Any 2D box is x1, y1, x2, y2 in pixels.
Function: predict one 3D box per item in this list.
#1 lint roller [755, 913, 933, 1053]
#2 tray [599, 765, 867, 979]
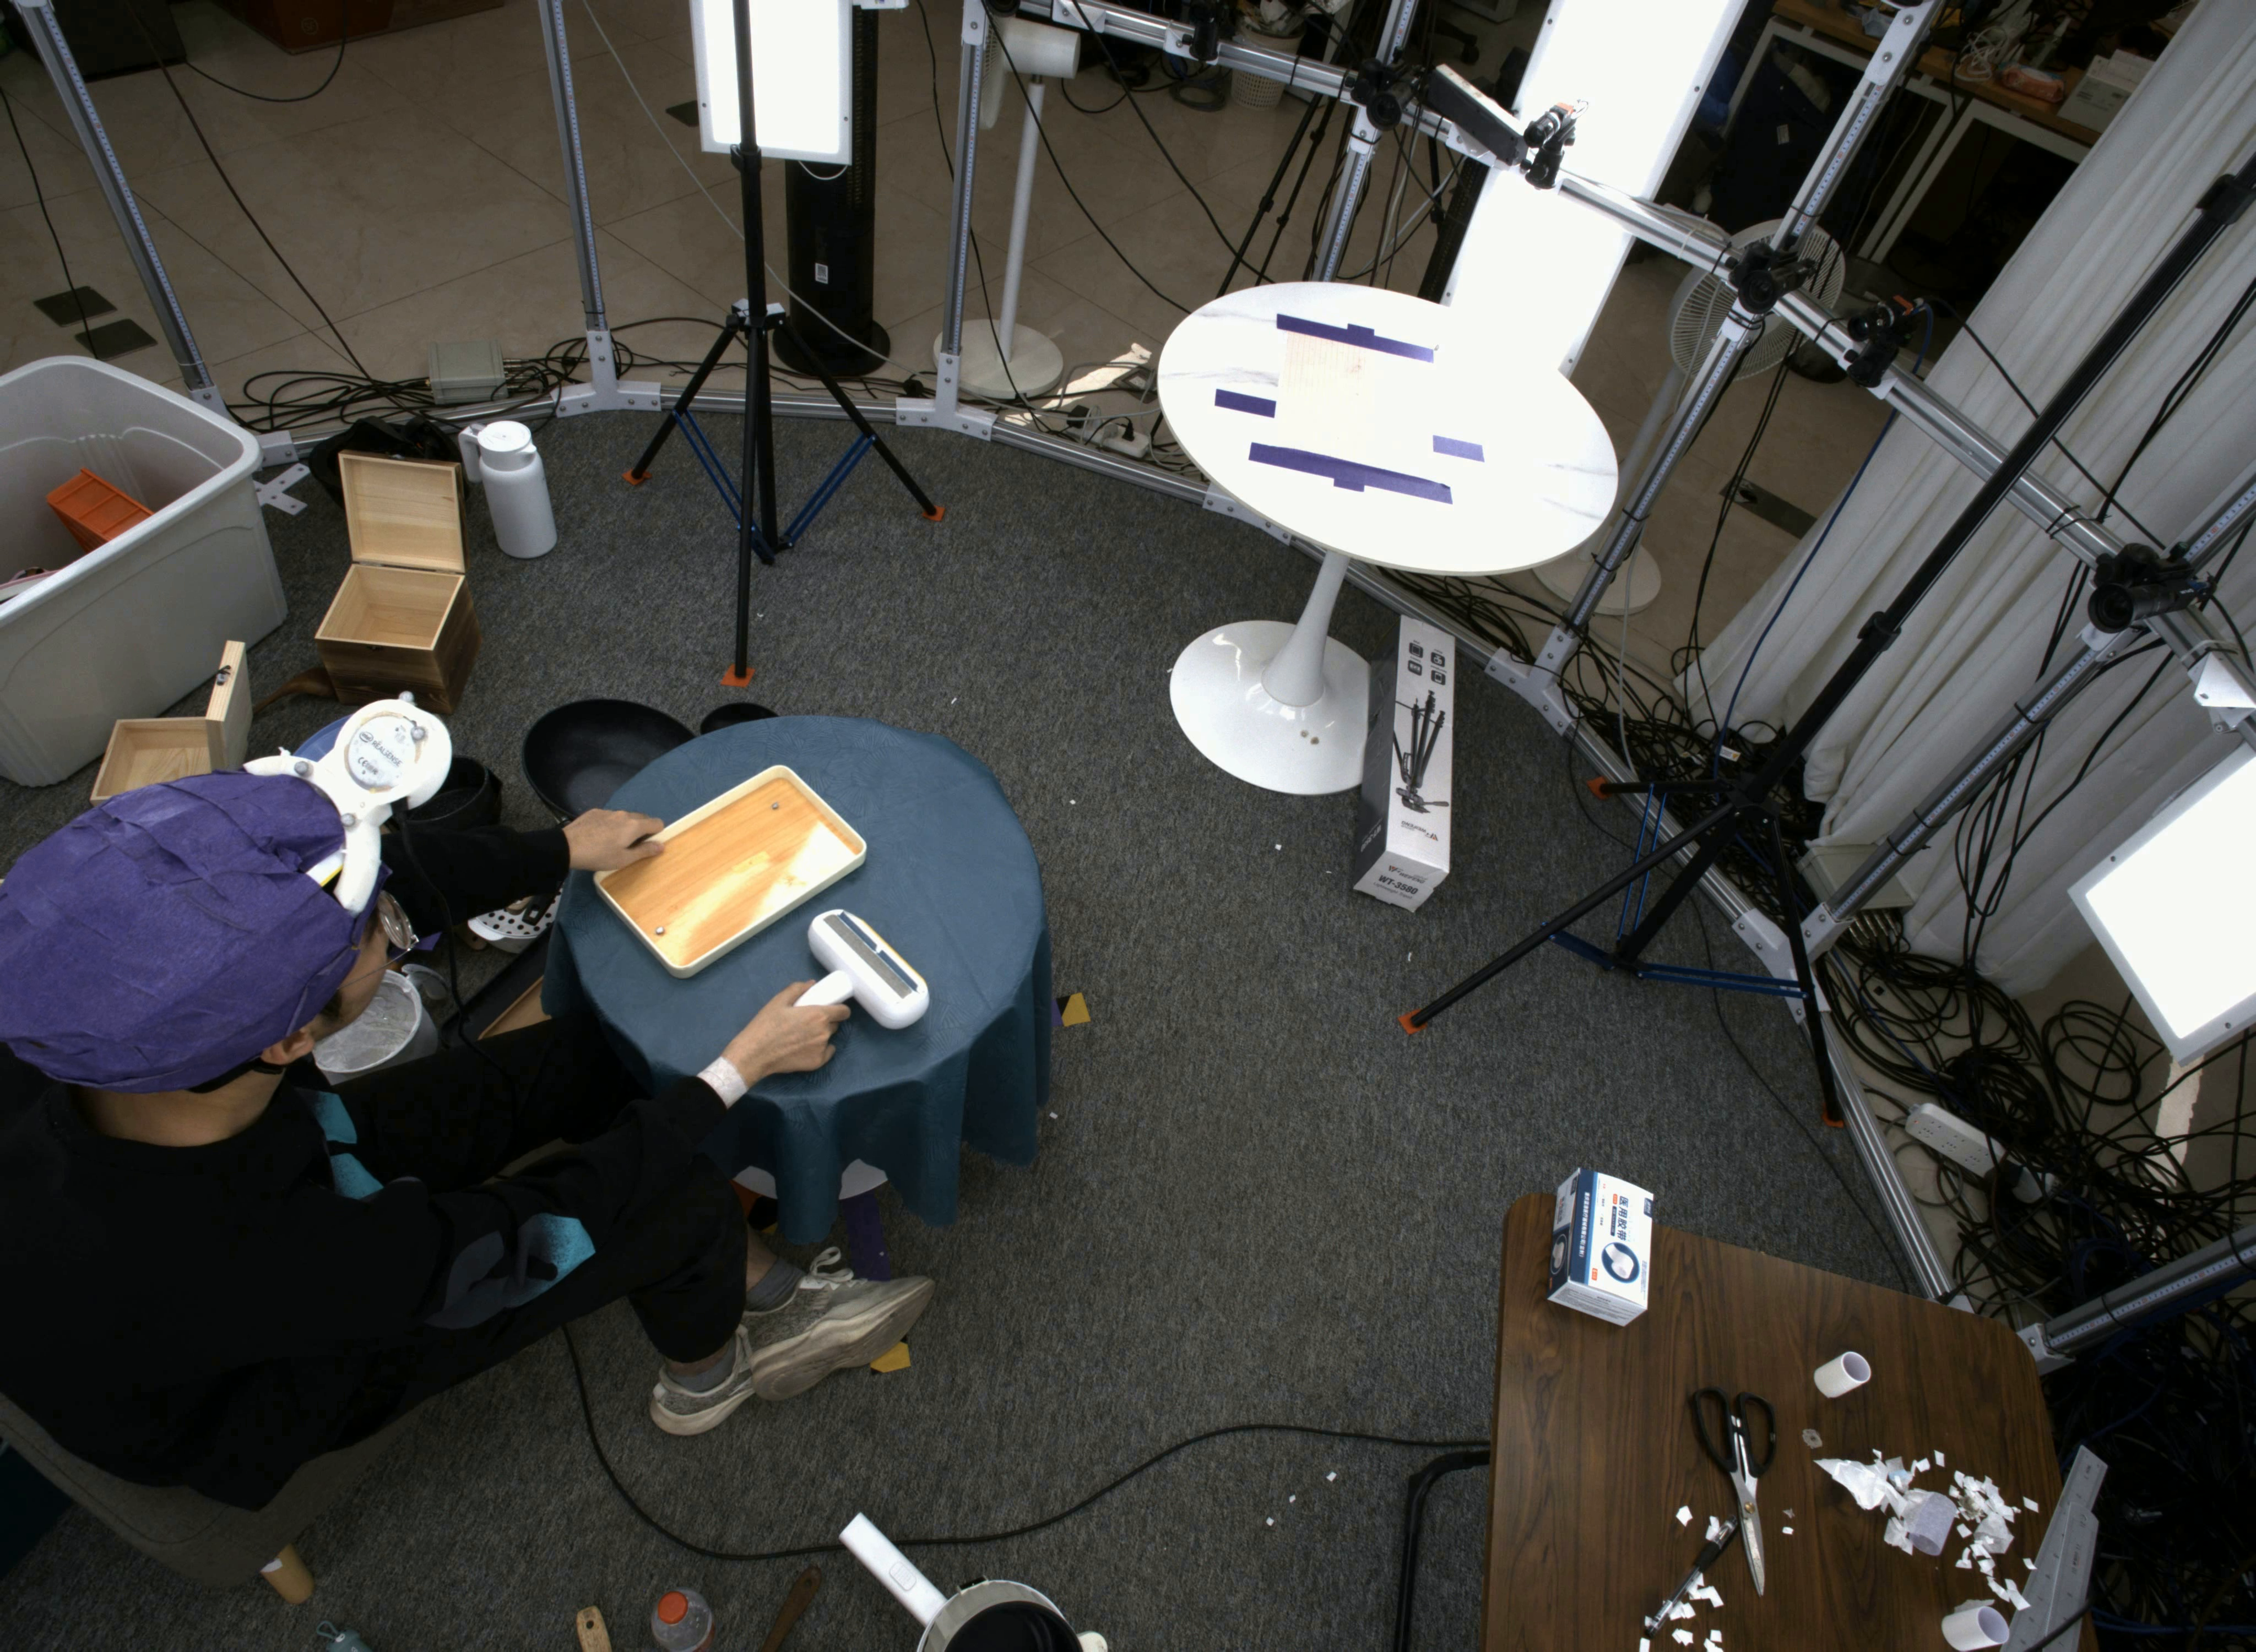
[{"bbox_3d":[-0.357,0.201,1.549,0.193,0.076,0.187,-26,57,-33],"label":"lint roller"},{"bbox_3d":[-0.504,0.050,1.654,0.187,0.028,0.301,42,55,17],"label":"tray"}]
